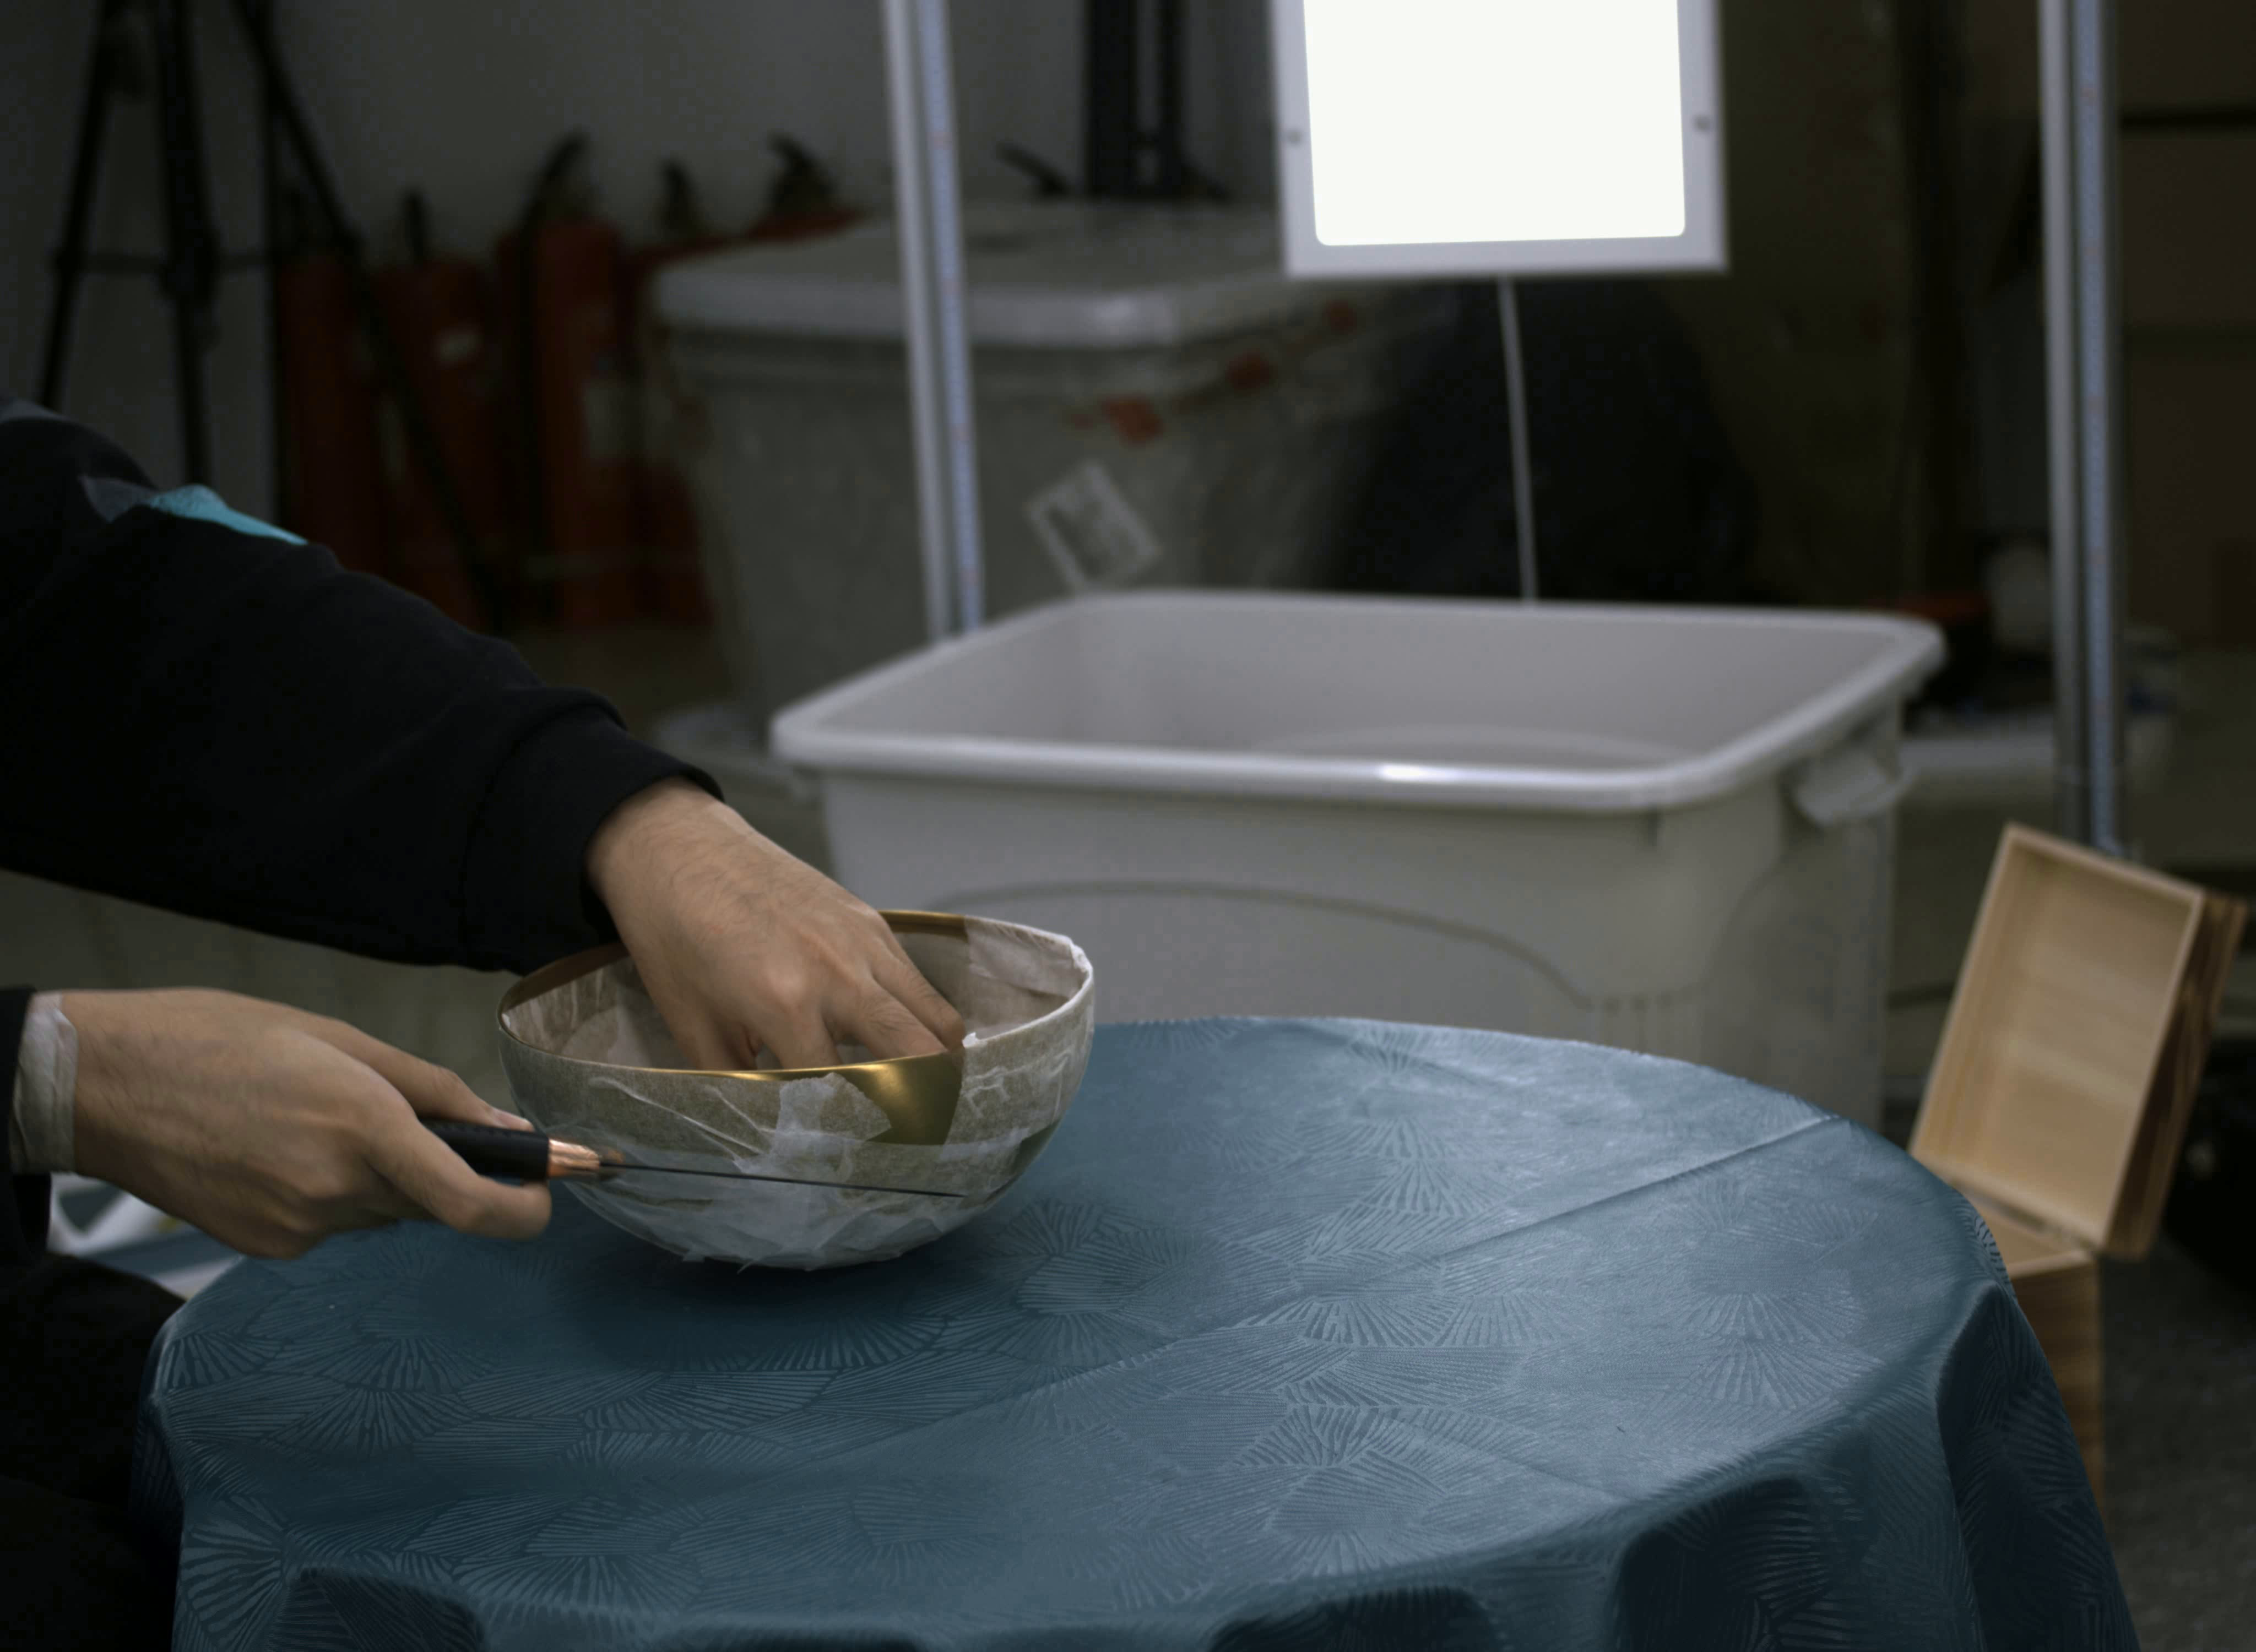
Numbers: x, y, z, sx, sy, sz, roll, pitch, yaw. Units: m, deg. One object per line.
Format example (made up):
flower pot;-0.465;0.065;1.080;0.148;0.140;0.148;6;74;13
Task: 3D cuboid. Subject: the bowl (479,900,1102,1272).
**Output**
bowl;-0.112;0.095;1.863;0.214;0.095;0.214;-4;15;0

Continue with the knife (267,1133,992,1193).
knife;-0.153;0.105;1.680;0.227;0.017;0.026;2;-5;13
